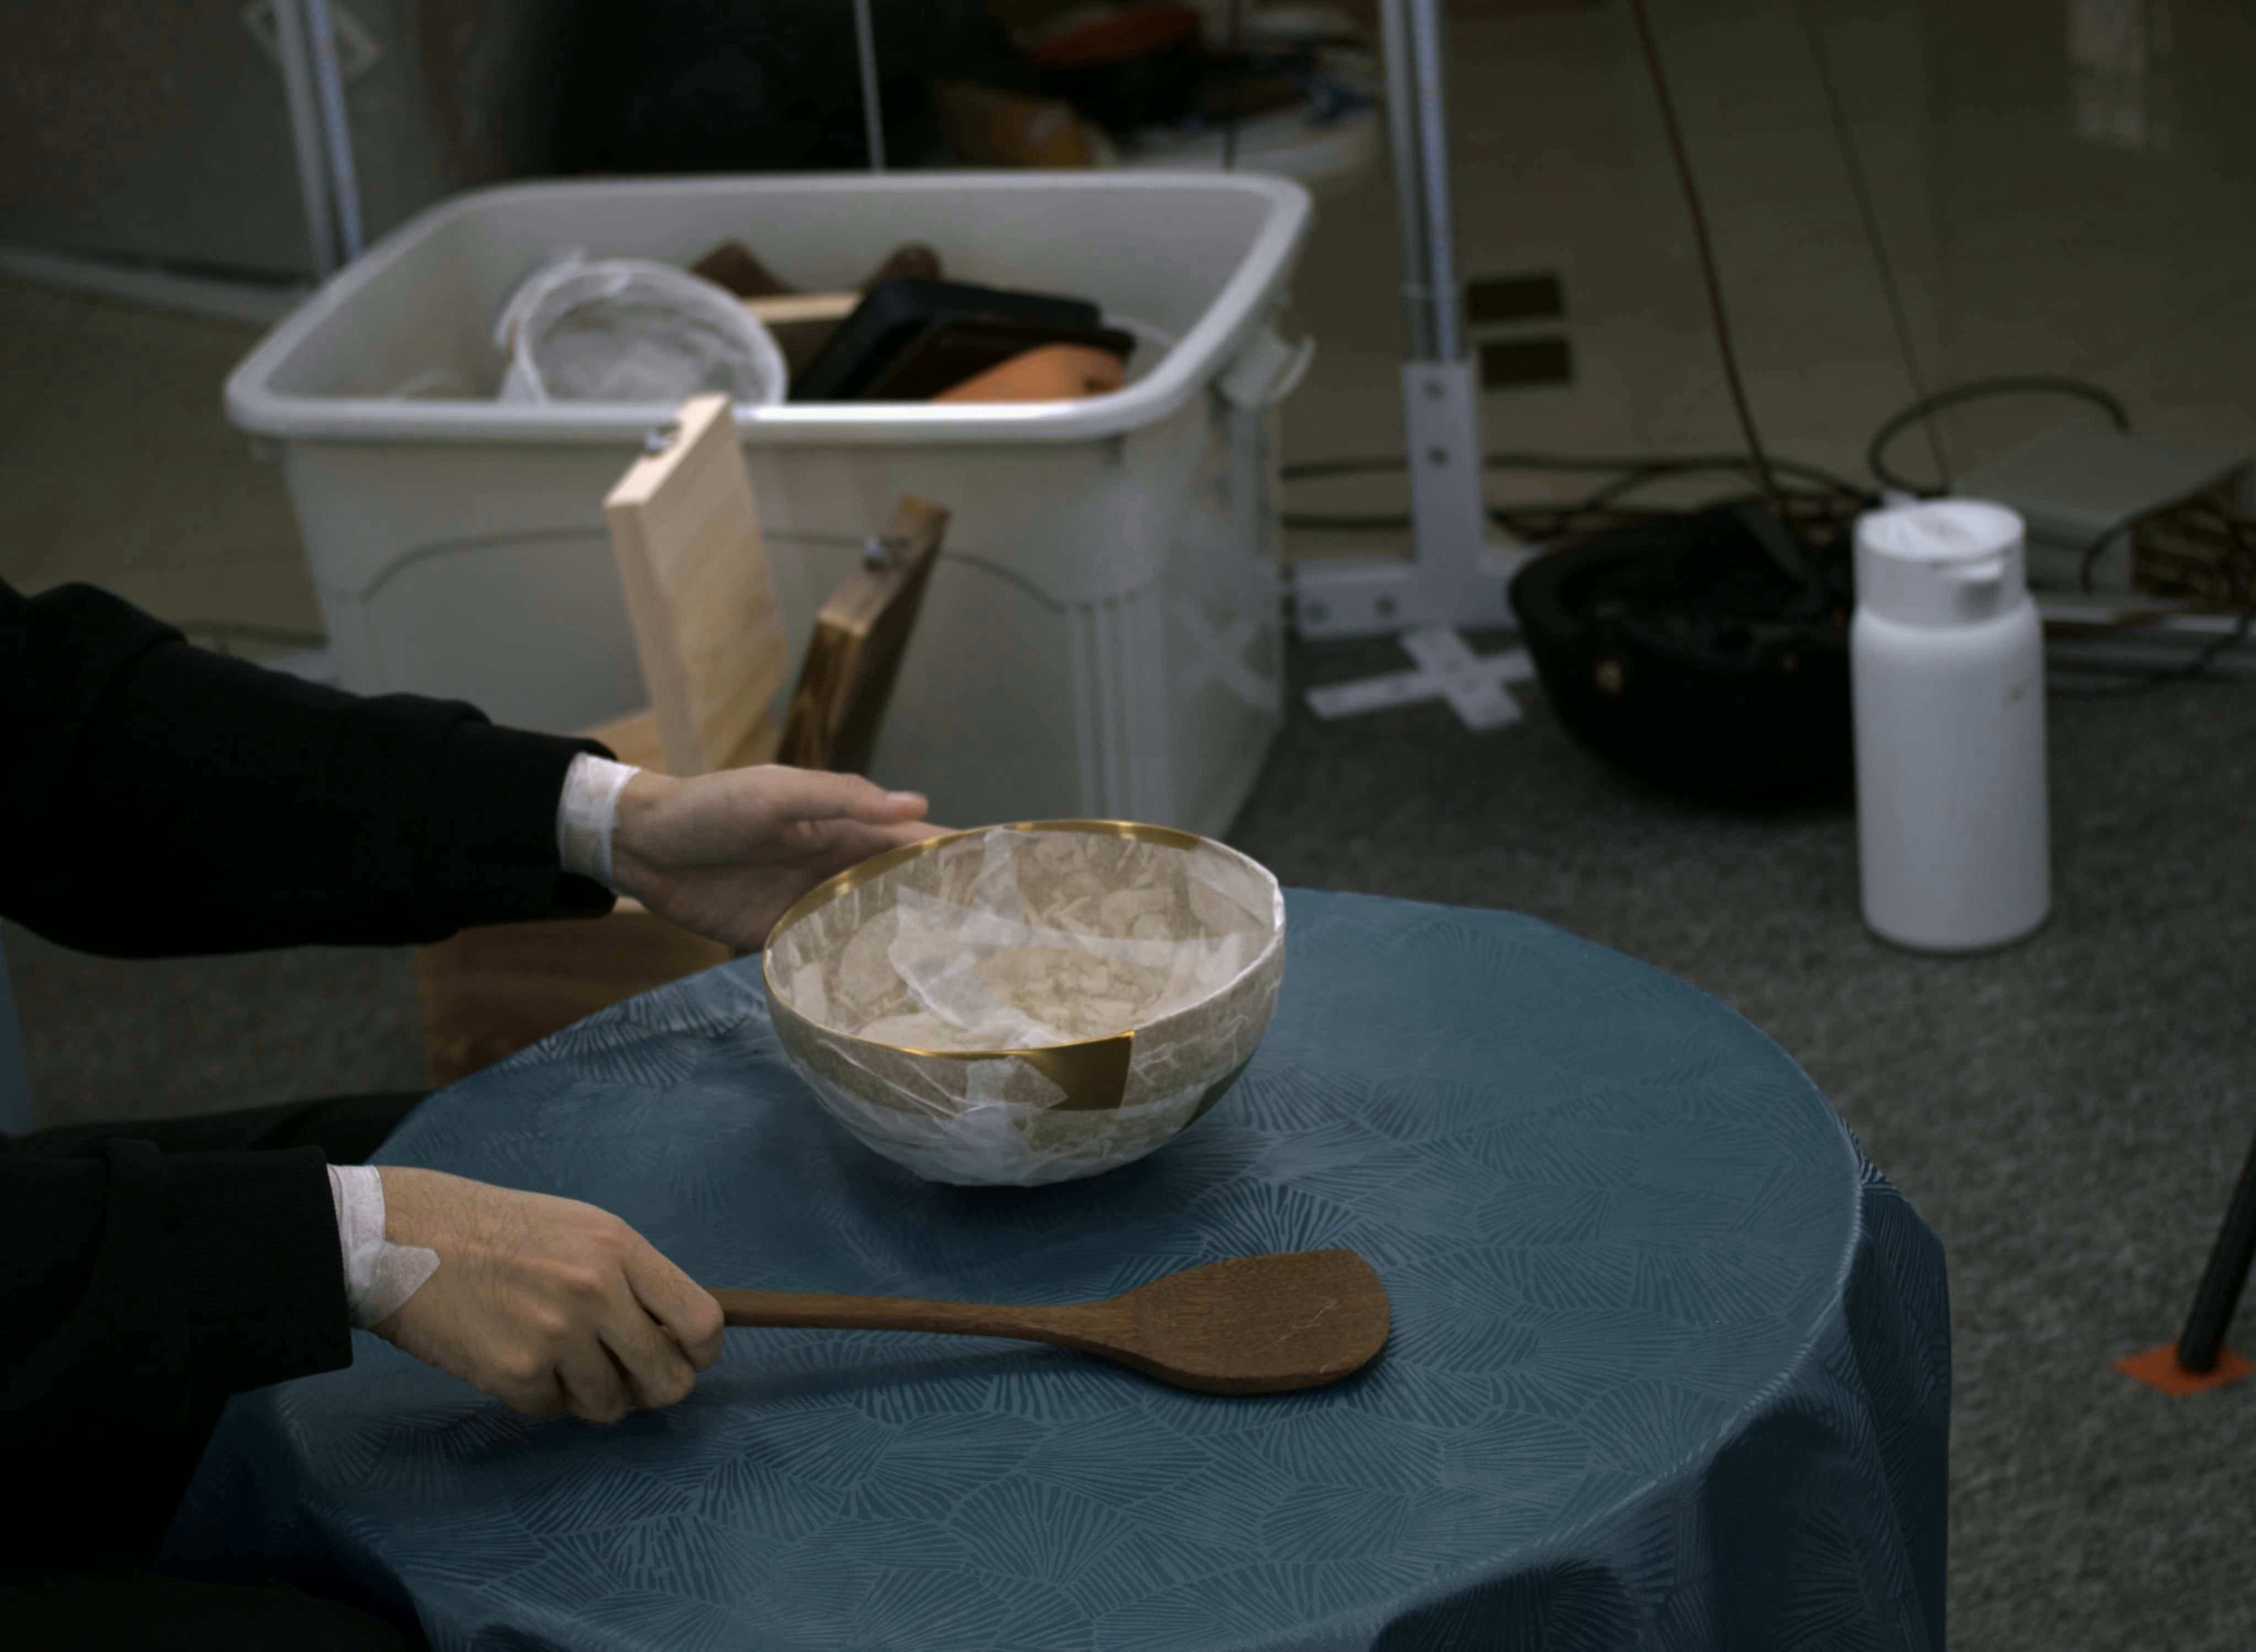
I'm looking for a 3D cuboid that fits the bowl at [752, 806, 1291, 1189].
[{"bbox_3d":[-0.037,0.079,2.179,0.214,0.096,0.211,-6,26,3],"label":"bowl"}]

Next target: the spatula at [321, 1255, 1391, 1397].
[{"bbox_3d":[-0.098,0.177,2.042,0.385,0.016,0.095,1,24,0],"label":"spatula"}]
